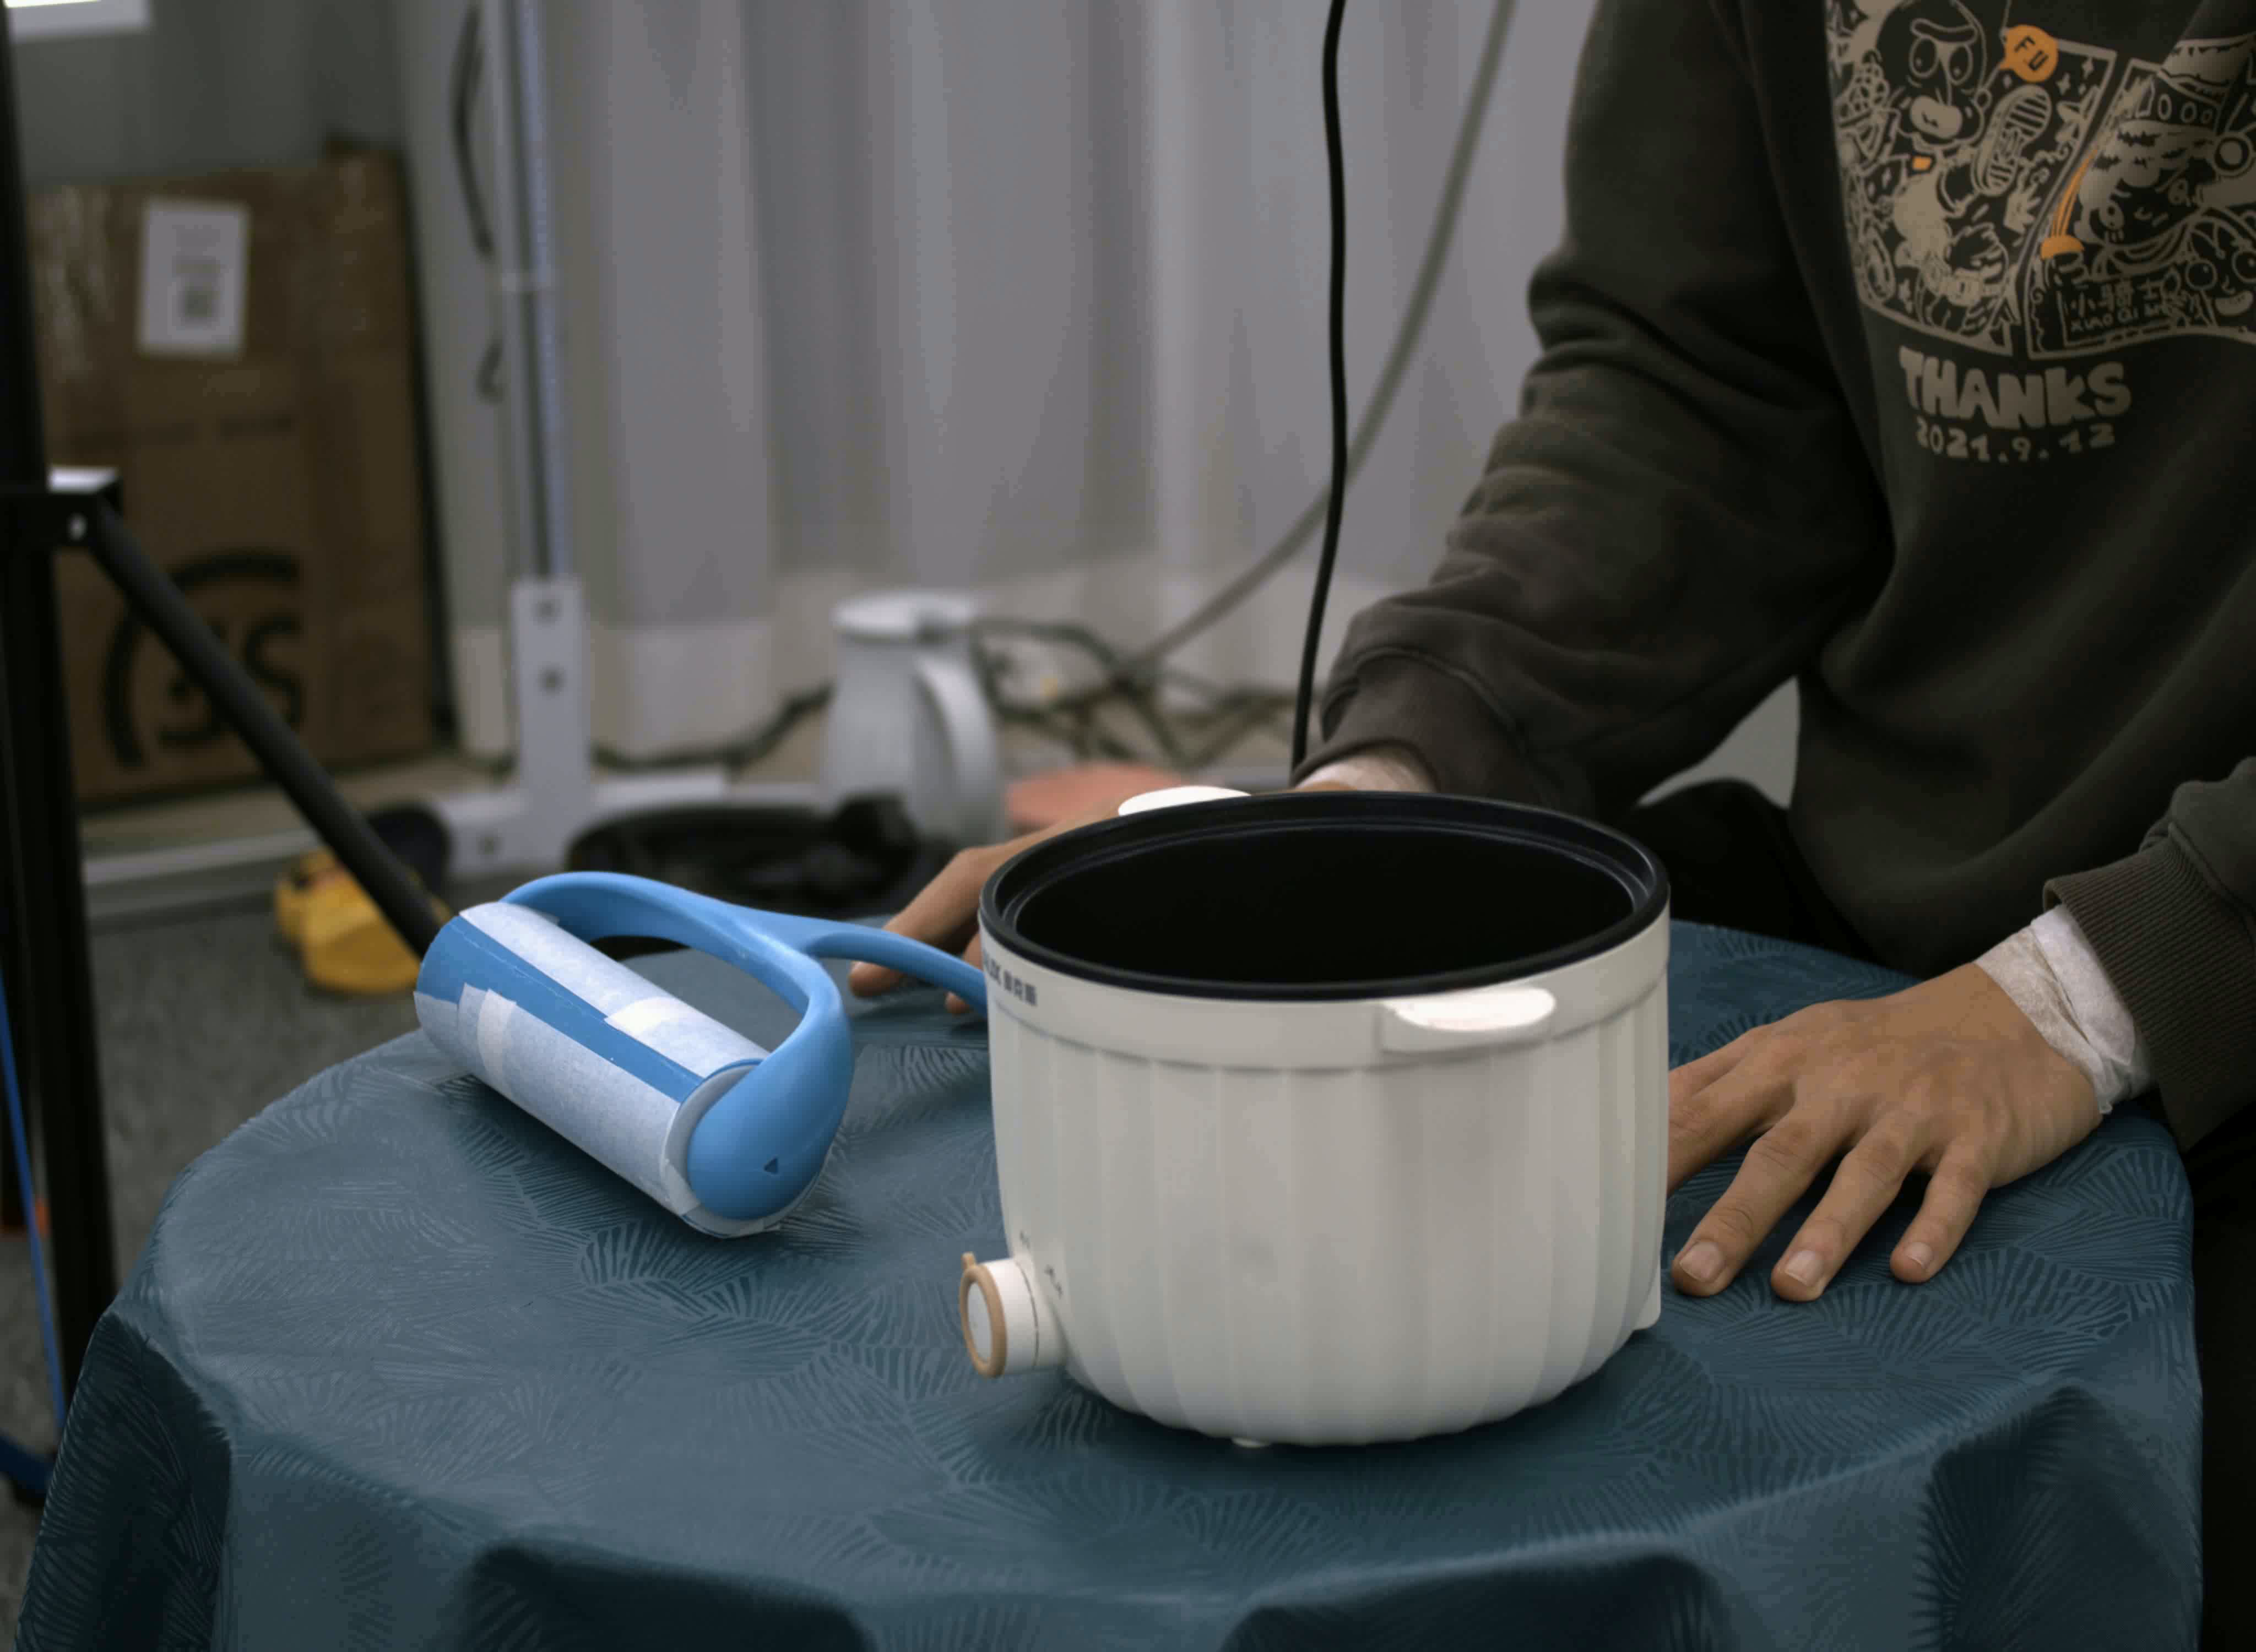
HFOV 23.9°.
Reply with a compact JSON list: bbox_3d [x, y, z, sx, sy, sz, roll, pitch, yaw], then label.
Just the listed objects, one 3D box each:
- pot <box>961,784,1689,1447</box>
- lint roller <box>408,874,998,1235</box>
[{"bbox_3d":[0.050,0.079,1.400,0.187,0.143,0.244,-4,14,-19],"label":"pot"},{"bbox_3d":[-0.107,0.060,1.645,0.176,0.068,0.234,-12,17,-28],"label":"lint roller"}]
